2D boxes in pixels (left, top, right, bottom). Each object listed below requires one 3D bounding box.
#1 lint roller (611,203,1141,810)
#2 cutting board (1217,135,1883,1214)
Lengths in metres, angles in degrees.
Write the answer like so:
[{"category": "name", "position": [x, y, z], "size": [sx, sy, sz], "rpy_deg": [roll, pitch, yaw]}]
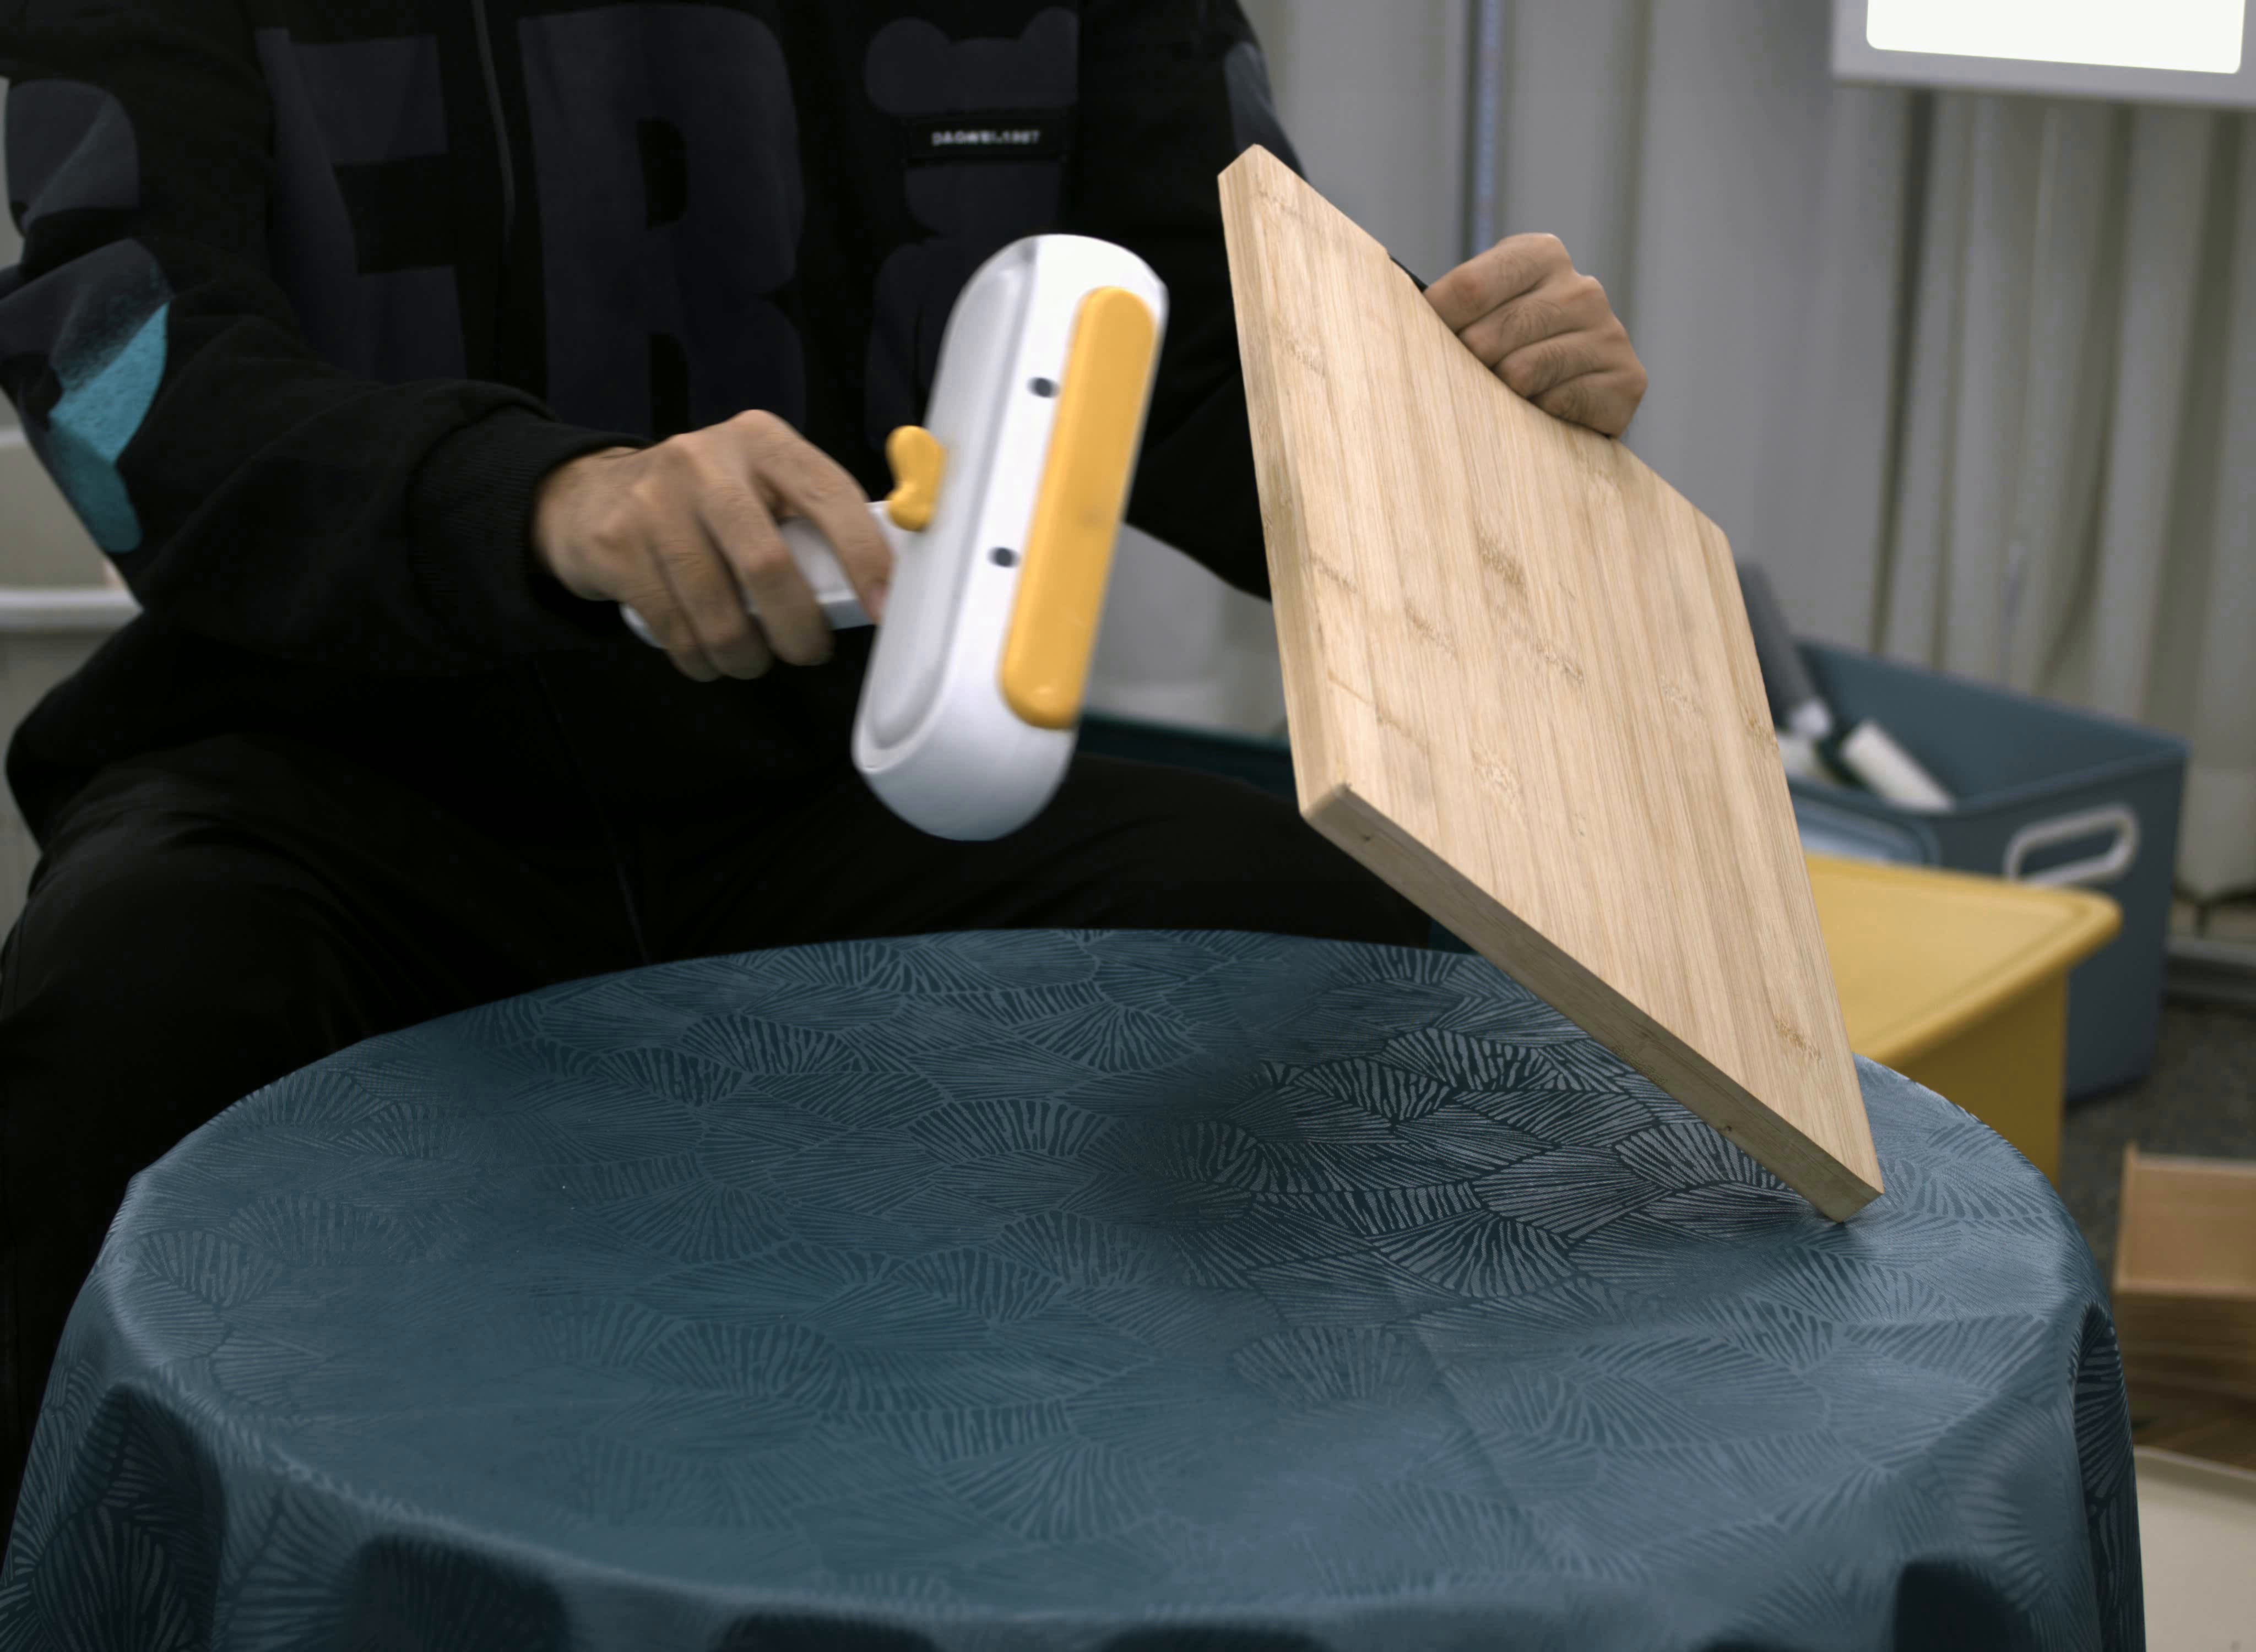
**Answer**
[{"category": "lint roller", "position": [-0.080, -0.084, 1.601], "size": [0.075, 0.192, 0.191], "rpy_deg": [23, -29, -35]}, {"category": "cutting board", "position": [0.128, -0.055, 1.669], "size": [0.253, 0.023, 0.345], "rpy_deg": [37, 28, -30]}]
